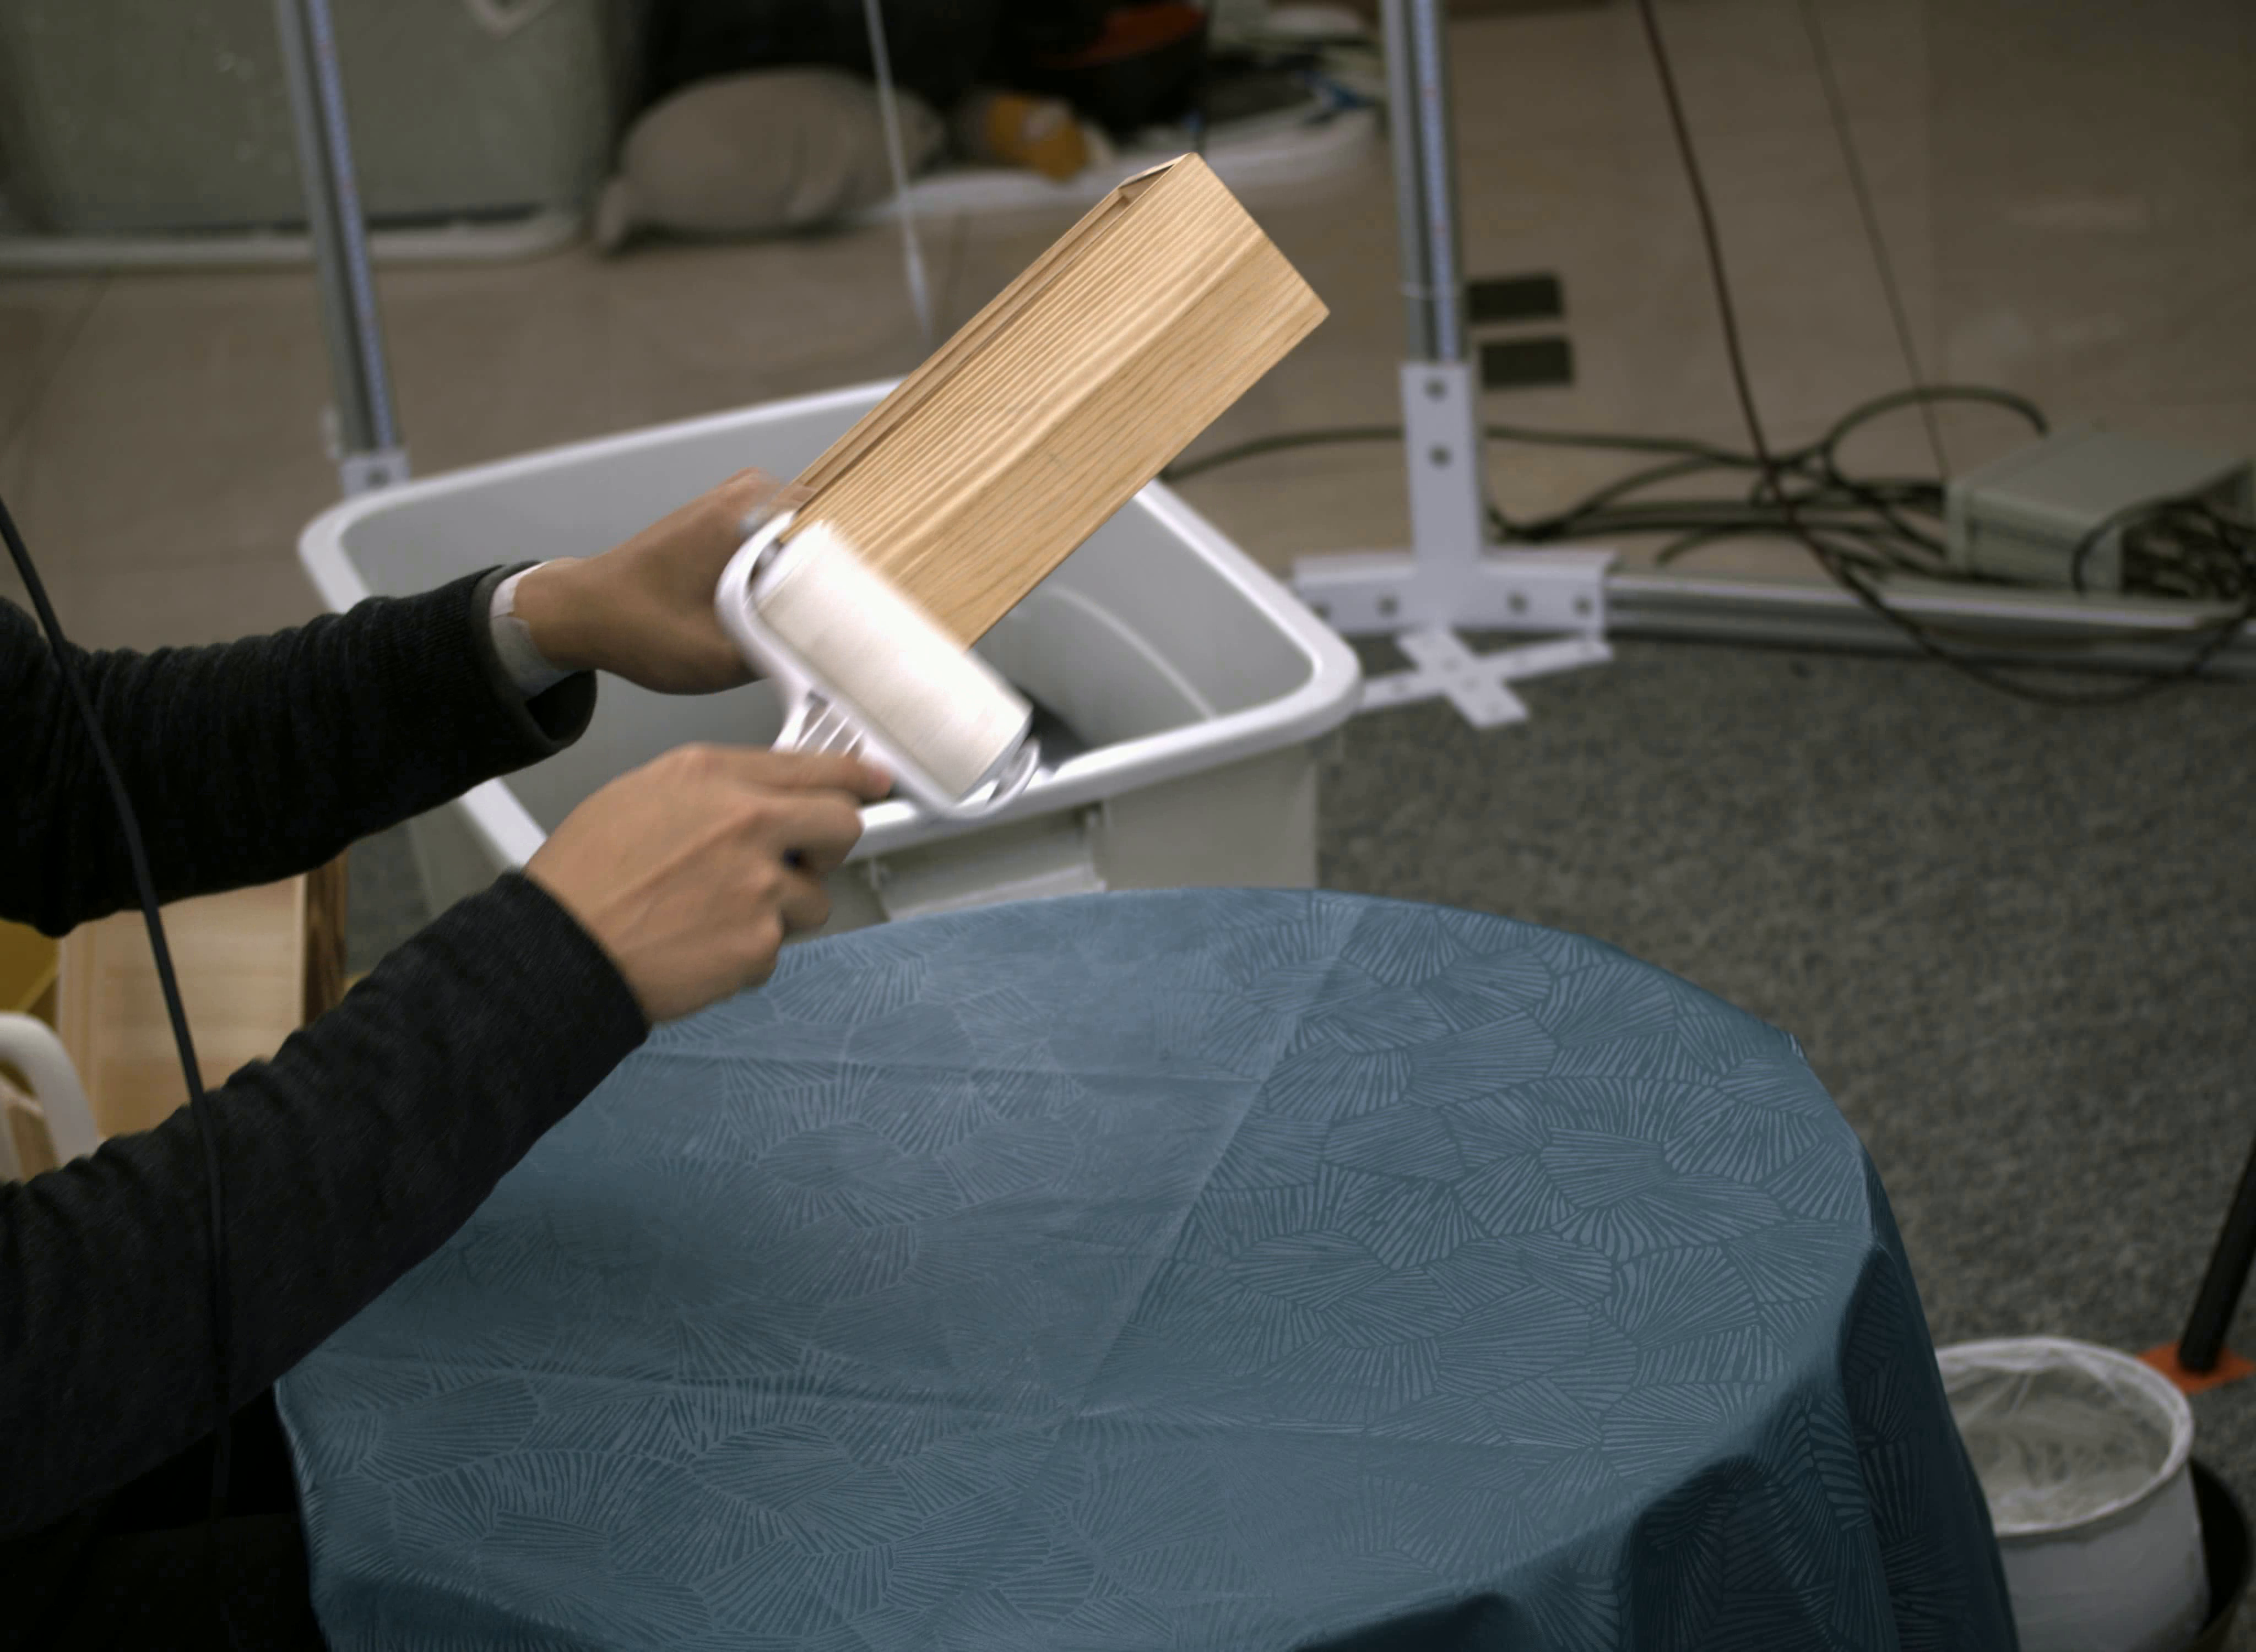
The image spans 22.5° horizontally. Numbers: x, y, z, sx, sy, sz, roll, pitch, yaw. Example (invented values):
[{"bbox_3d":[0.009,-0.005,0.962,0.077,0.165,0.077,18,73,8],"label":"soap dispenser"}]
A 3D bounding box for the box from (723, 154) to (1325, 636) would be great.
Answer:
[{"bbox_3d":[-0.039,-0.146,2.092,0.210,0.080,0.107,-43,10,-9],"label":"box"}]

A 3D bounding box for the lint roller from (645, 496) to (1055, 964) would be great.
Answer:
[{"bbox_3d":[-0.112,-0.023,1.971,0.050,0.133,0.178,-32,17,50],"label":"lint roller"}]
